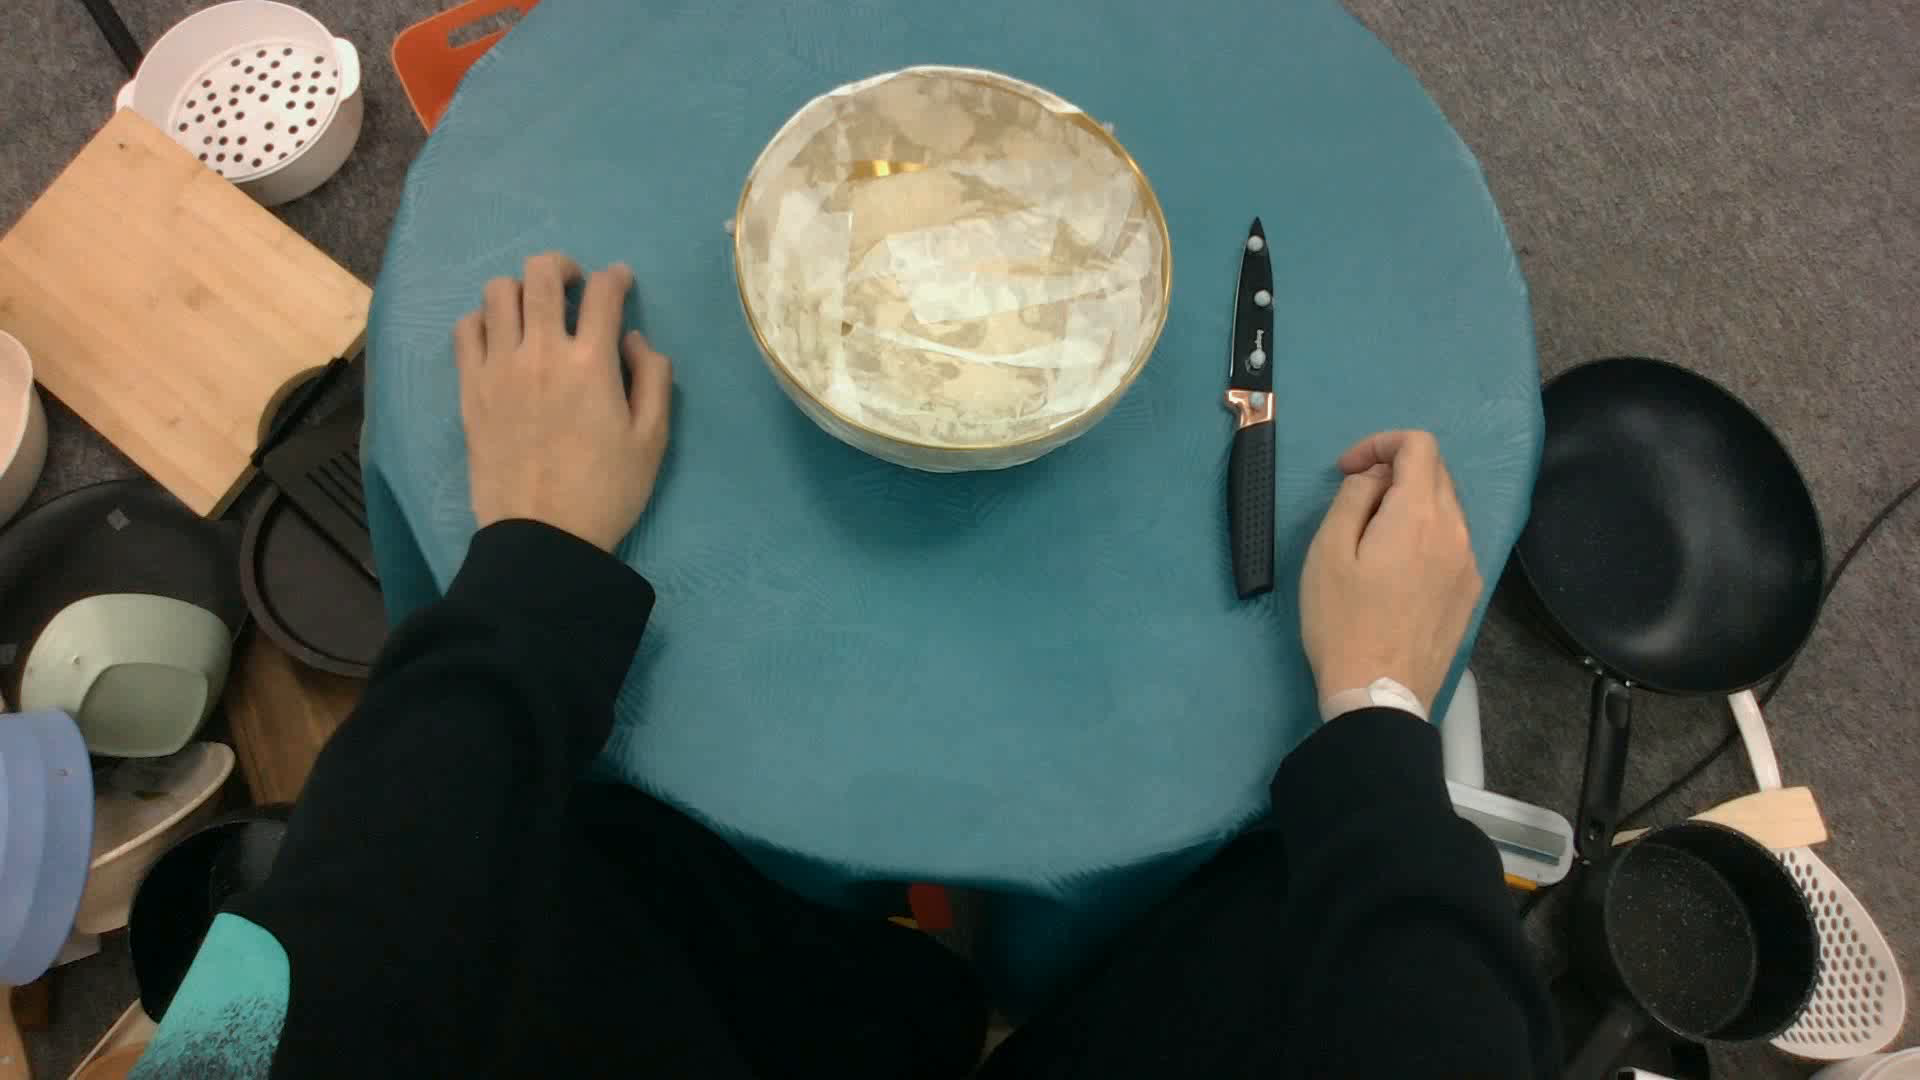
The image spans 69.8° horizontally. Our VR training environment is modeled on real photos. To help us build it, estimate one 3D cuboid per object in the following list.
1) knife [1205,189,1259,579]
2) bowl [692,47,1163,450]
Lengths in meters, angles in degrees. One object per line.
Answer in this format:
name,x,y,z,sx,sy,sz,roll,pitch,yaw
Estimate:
knife,0.139,-0.086,0.705,0.026,0.017,0.226,2,67,2
bowl,-0.015,-0.122,0.658,0.215,0.094,0.215,3,68,-6
